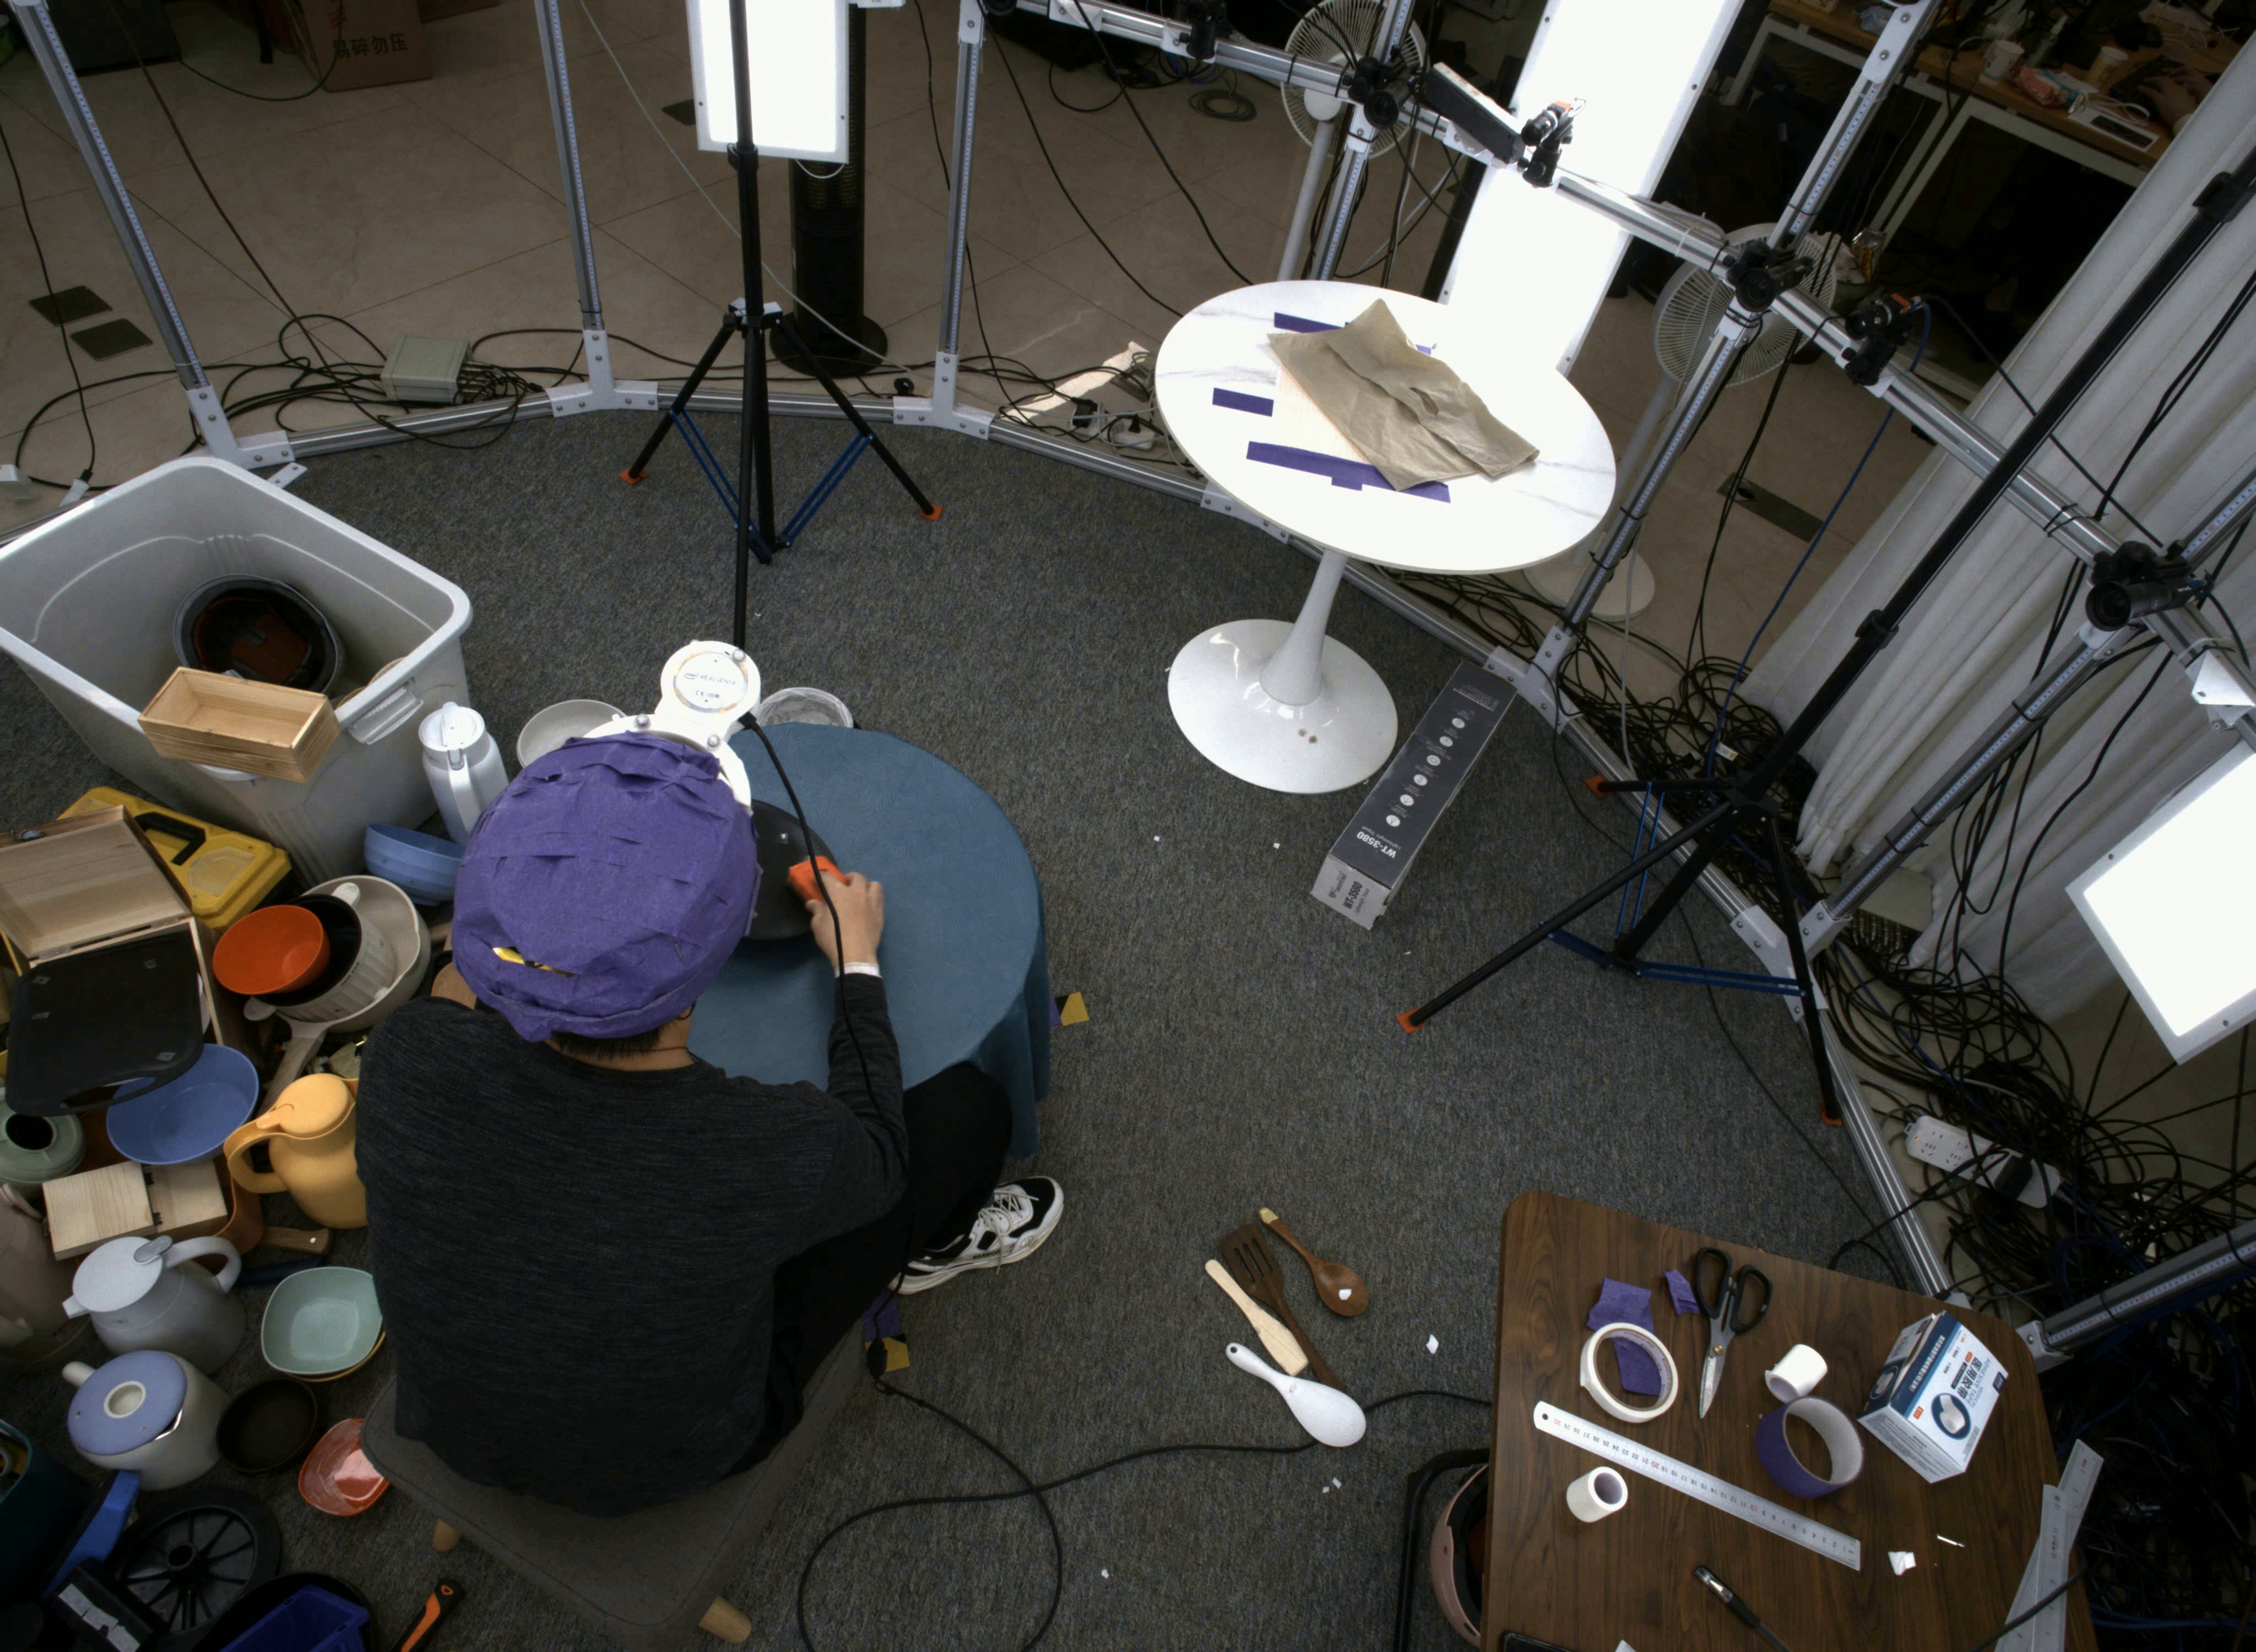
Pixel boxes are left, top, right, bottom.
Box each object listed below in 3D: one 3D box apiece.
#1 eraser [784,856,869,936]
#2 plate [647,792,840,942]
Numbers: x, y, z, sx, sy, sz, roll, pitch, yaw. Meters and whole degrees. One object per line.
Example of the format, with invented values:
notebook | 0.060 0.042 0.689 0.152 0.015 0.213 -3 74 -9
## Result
eraser | -0.378 0.085 1.624 0.105 0.023 0.059 42 44 17
plate | -0.478 0.053 1.610 0.248 0.023 0.239 25 37 -18
